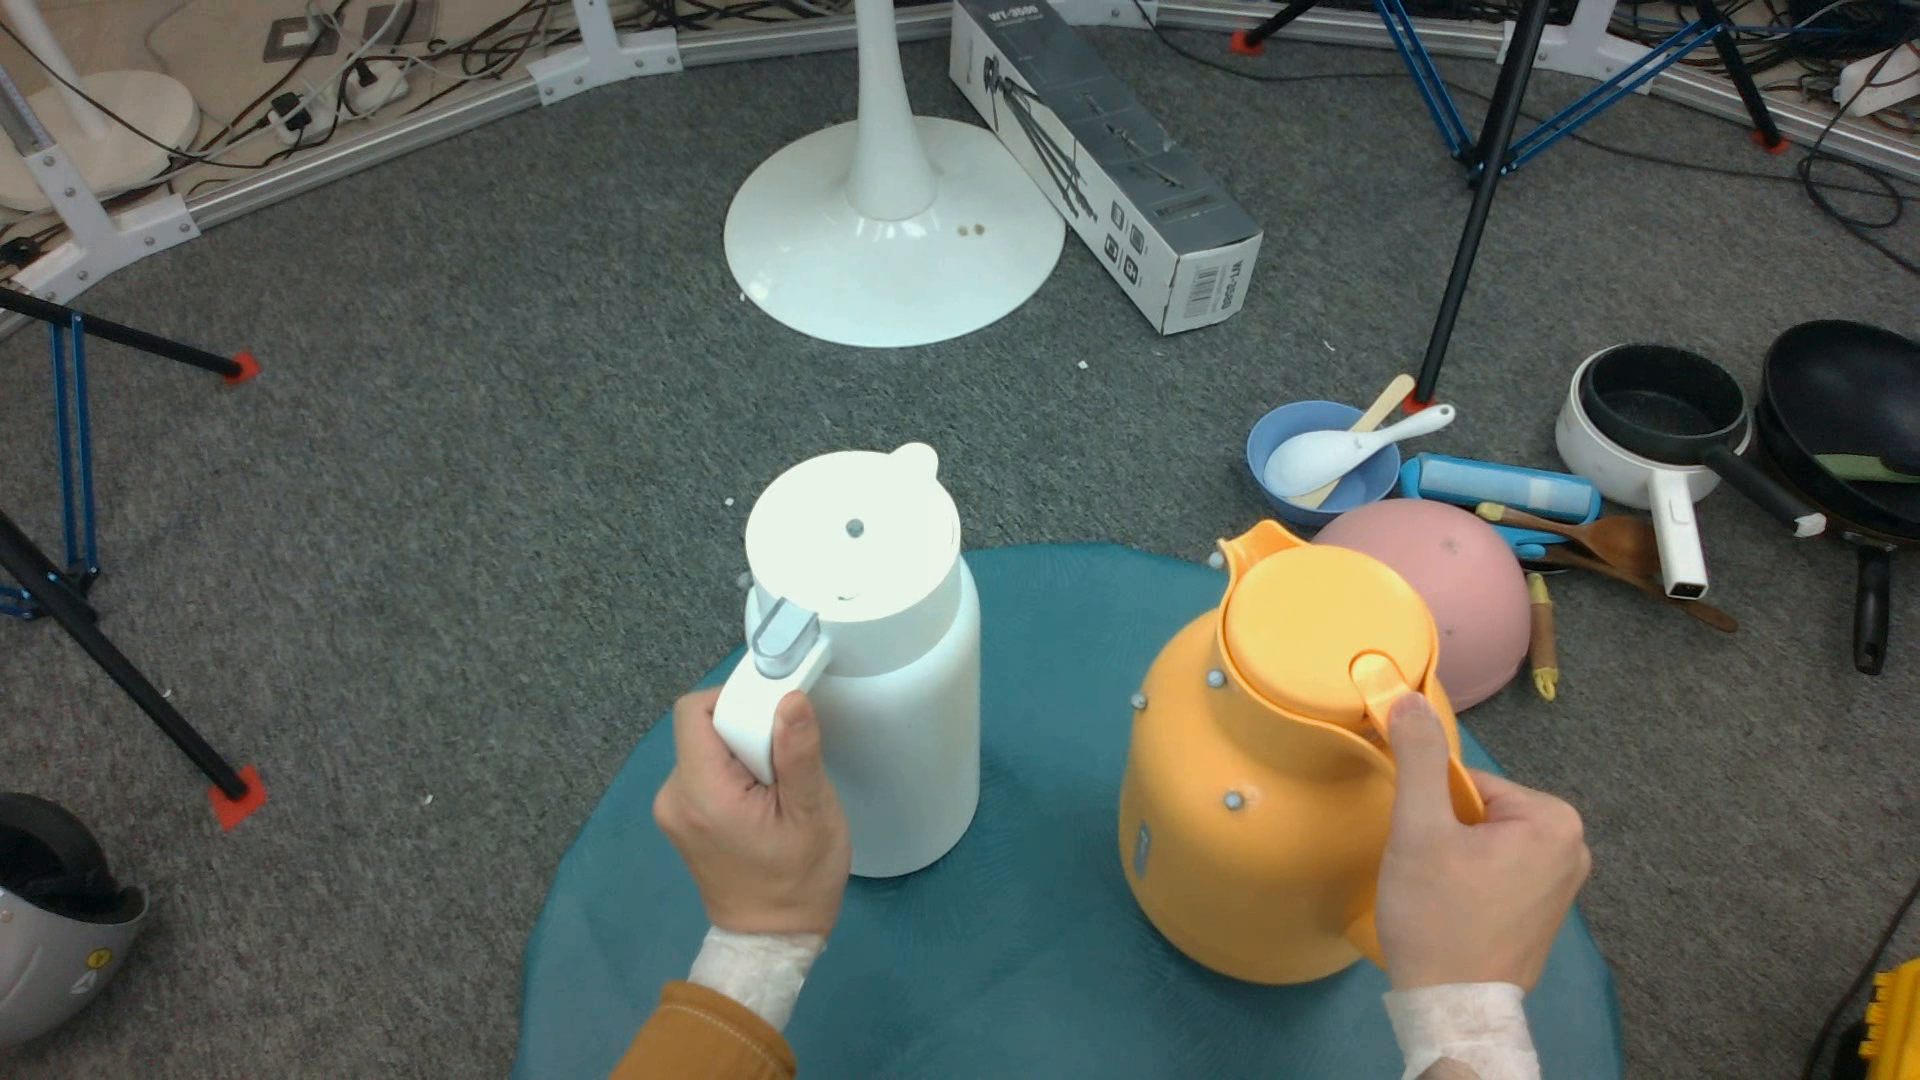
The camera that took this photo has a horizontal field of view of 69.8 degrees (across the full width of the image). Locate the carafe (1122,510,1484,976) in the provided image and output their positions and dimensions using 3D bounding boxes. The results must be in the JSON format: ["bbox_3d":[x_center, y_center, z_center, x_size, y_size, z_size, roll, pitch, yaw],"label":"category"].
[{"bbox_3d":[0.173,0.121,0.694,0.164,0.259,0.203,-21,53,-10],"label":"carafe"}]

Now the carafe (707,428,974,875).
[{"bbox_3d":[-0.058,0.085,0.721,0.124,0.267,0.173,23,57,14],"label":"carafe"}]
